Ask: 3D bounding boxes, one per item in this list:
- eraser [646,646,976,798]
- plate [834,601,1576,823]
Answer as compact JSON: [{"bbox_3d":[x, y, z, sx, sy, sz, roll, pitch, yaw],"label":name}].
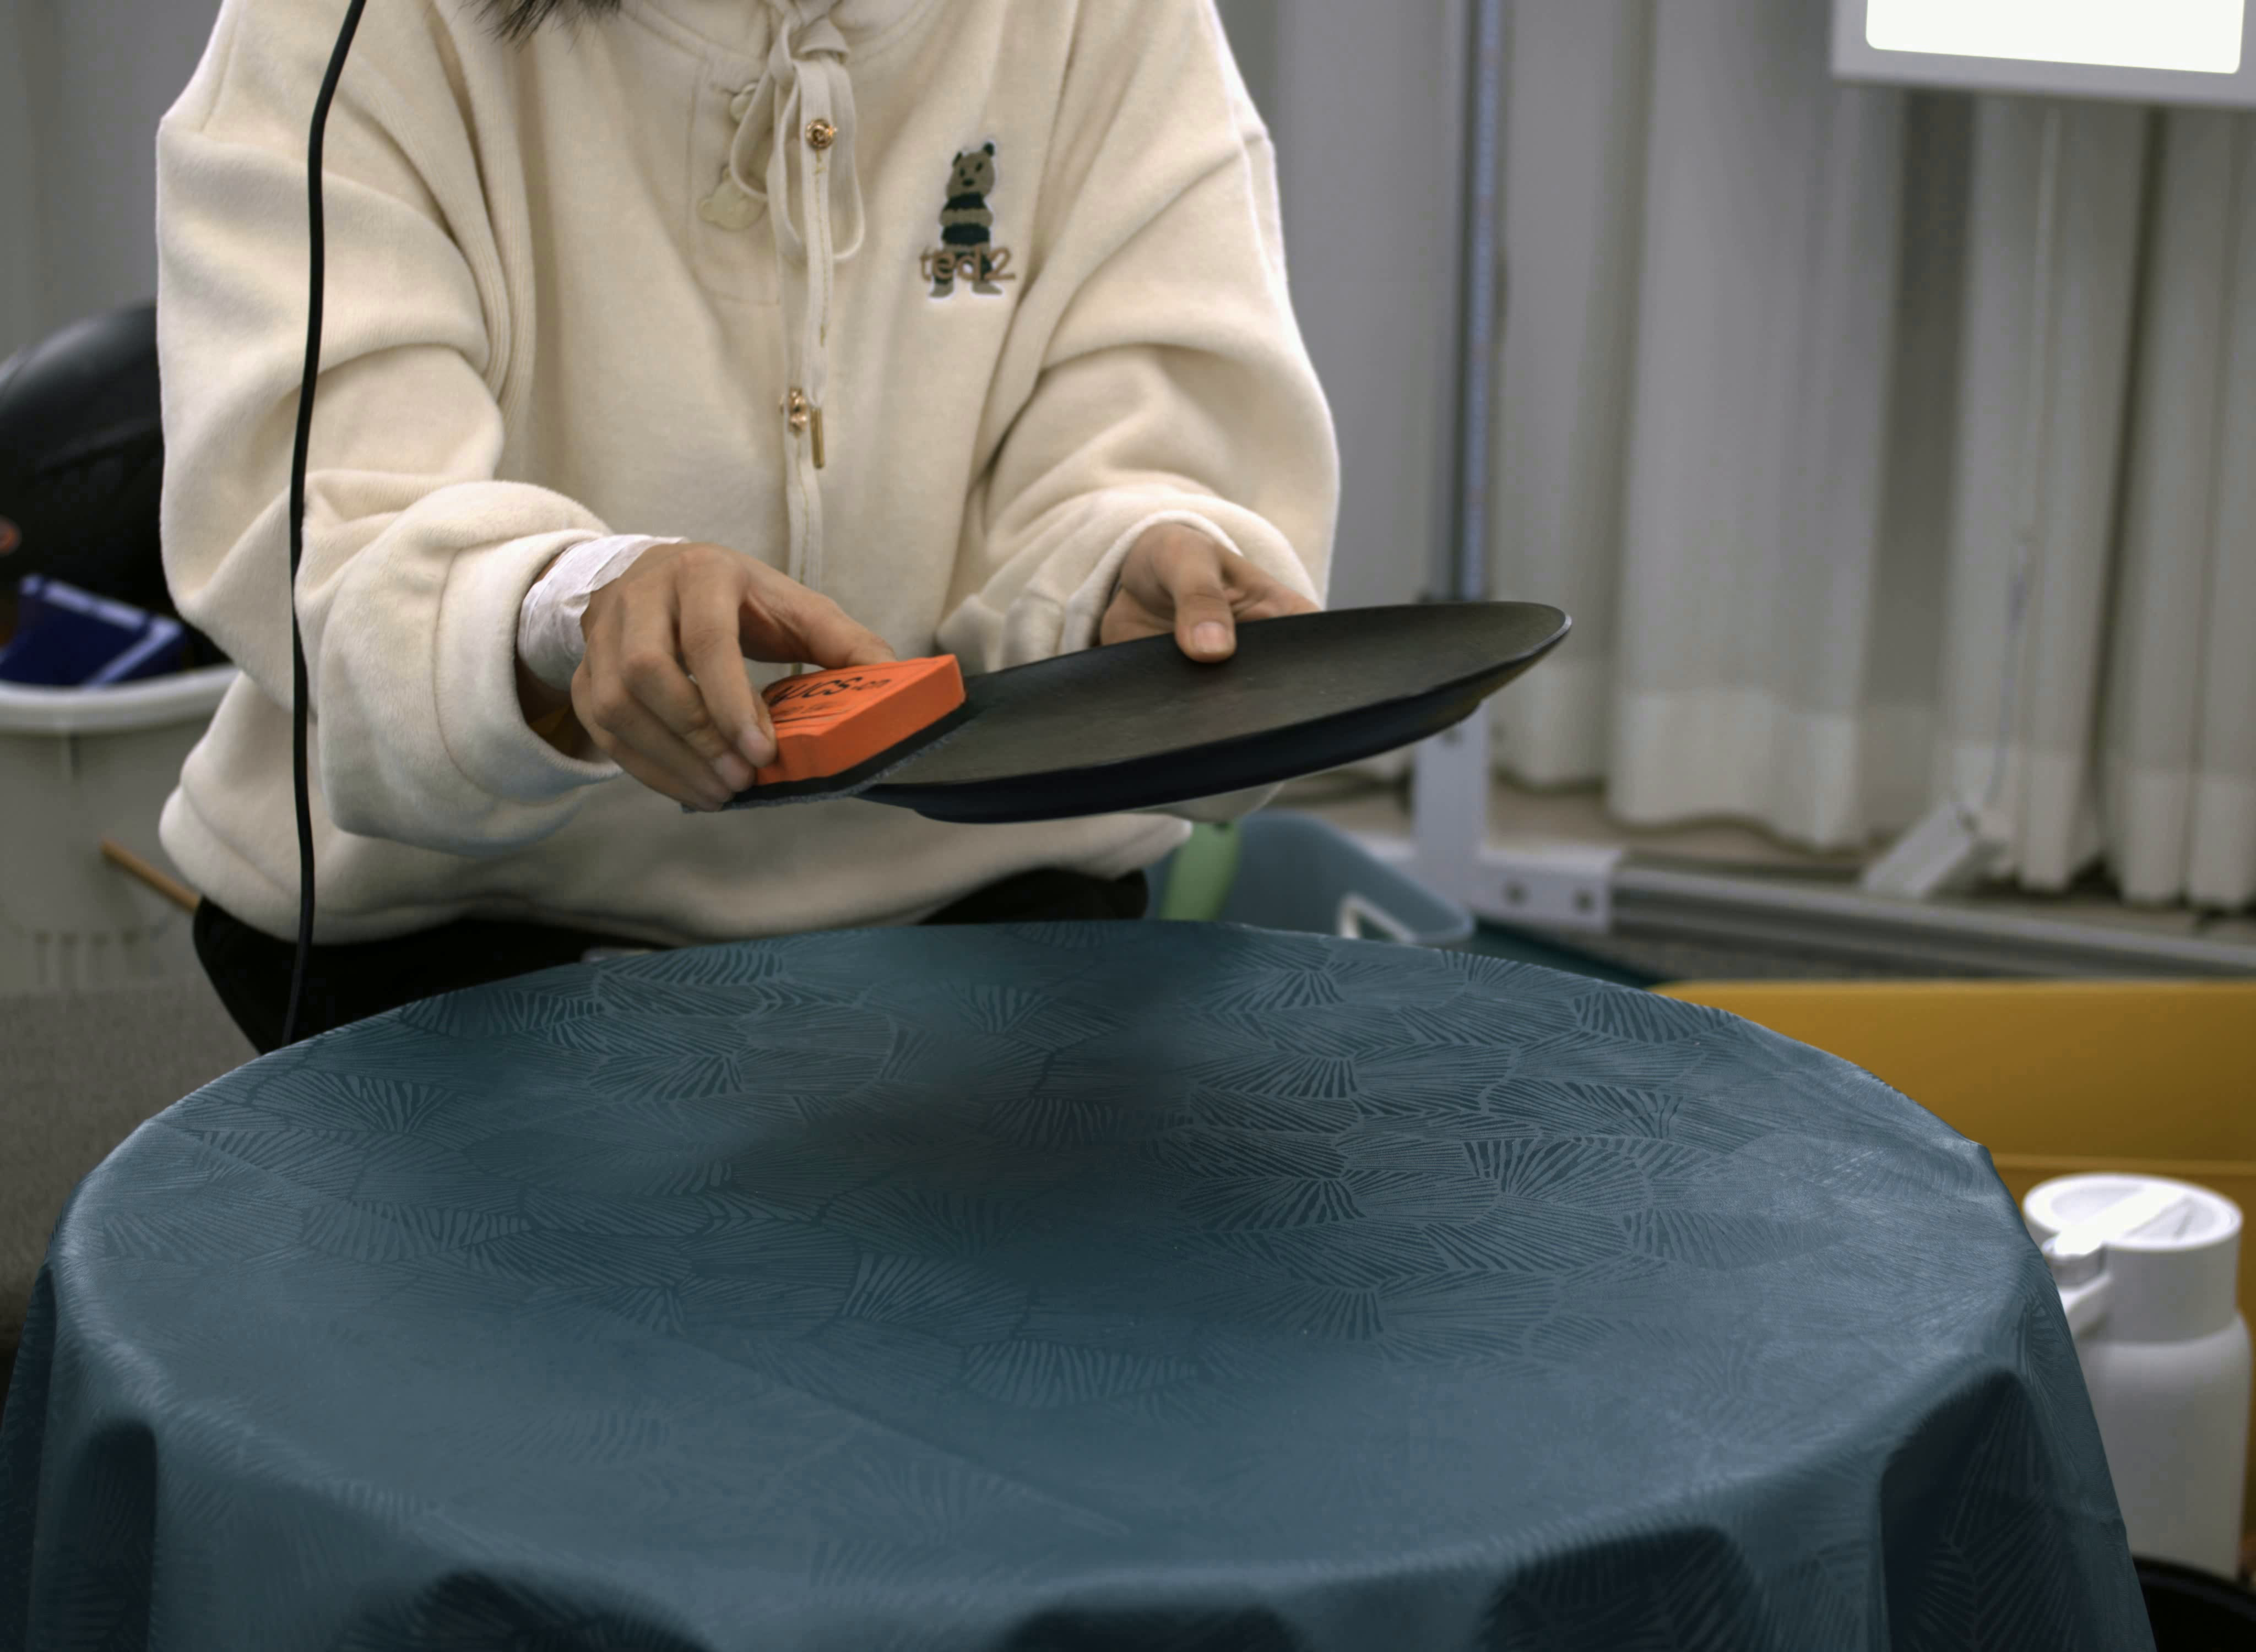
[{"bbox_3d":[-0.097,-0.031,1.603,0.059,0.023,0.107,-32,17,-32],"label":"eraser"},{"bbox_3d":[0.021,-0.033,1.634,0.243,0.023,0.243,-10,9,2],"label":"plate"}]
